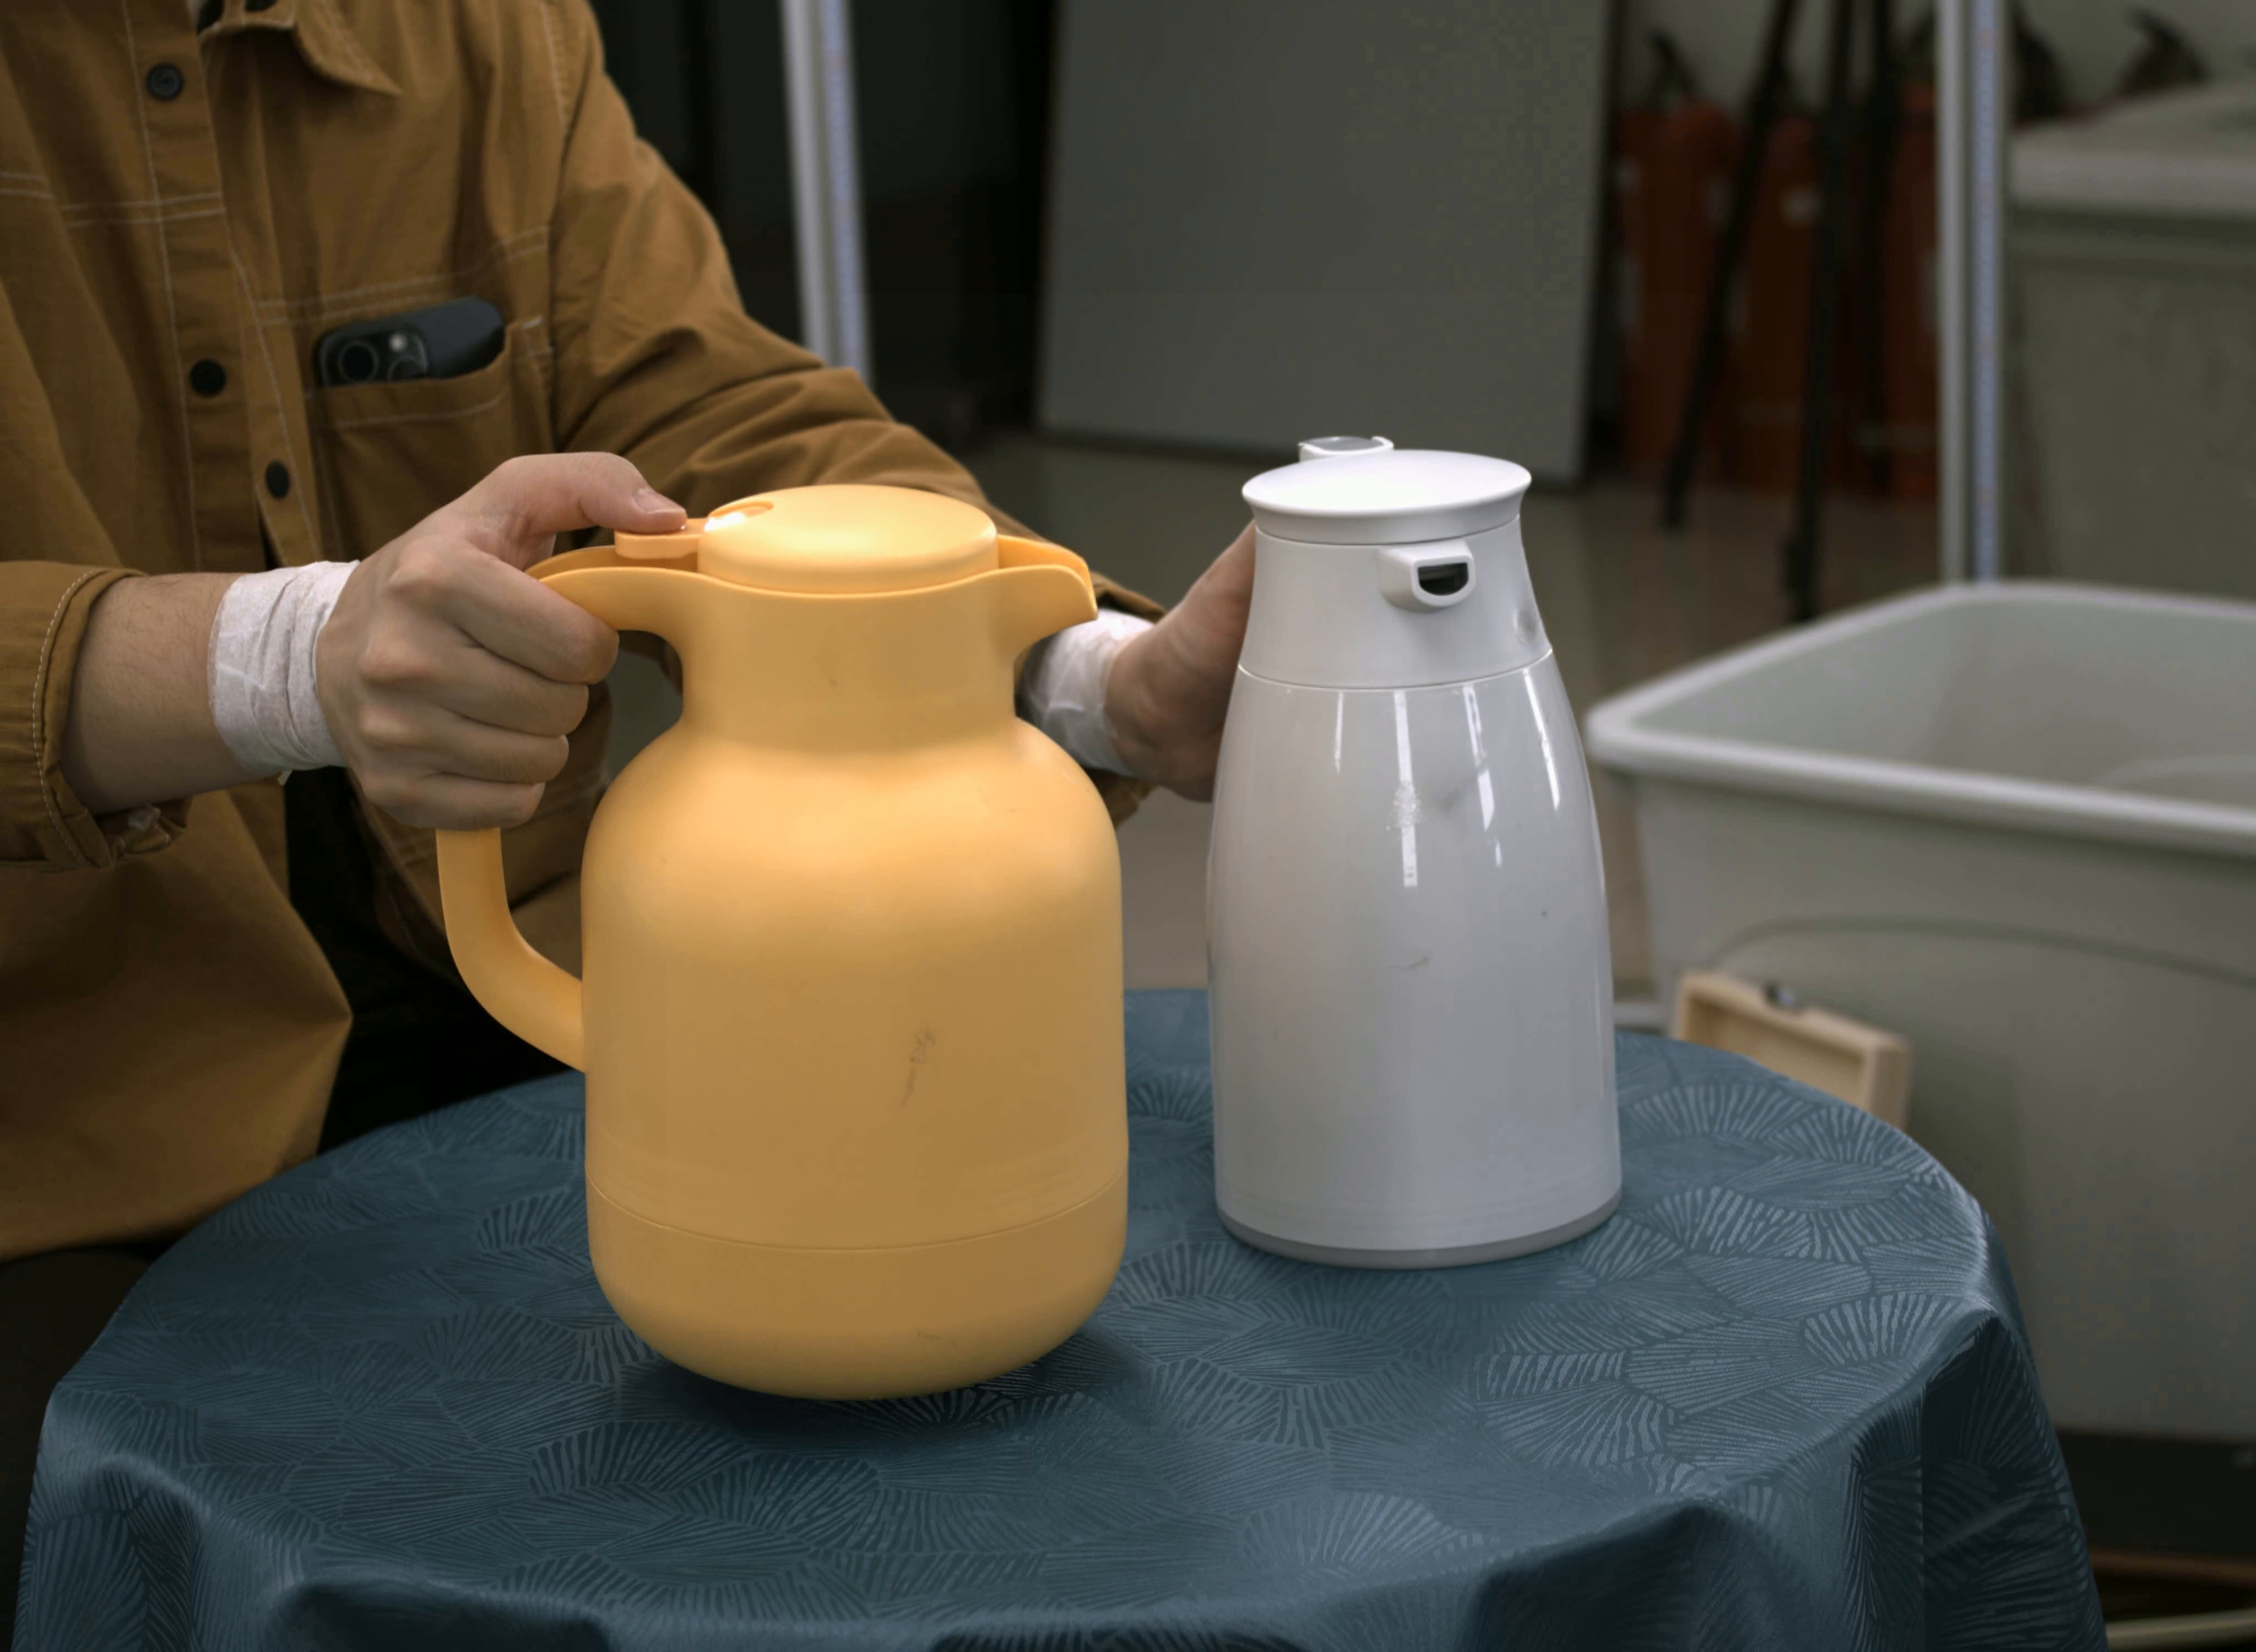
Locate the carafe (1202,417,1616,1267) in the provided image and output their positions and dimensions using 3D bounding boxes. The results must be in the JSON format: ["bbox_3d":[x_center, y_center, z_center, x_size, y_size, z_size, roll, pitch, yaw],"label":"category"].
[{"bbox_3d":[0.080,-0.003,1.729,0.130,0.251,0.169,-7,13,-12],"label":"carafe"}]

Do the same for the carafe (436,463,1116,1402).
[{"bbox_3d":[-0.102,0.026,1.593,0.200,0.263,0.163,2,15,4],"label":"carafe"}]
